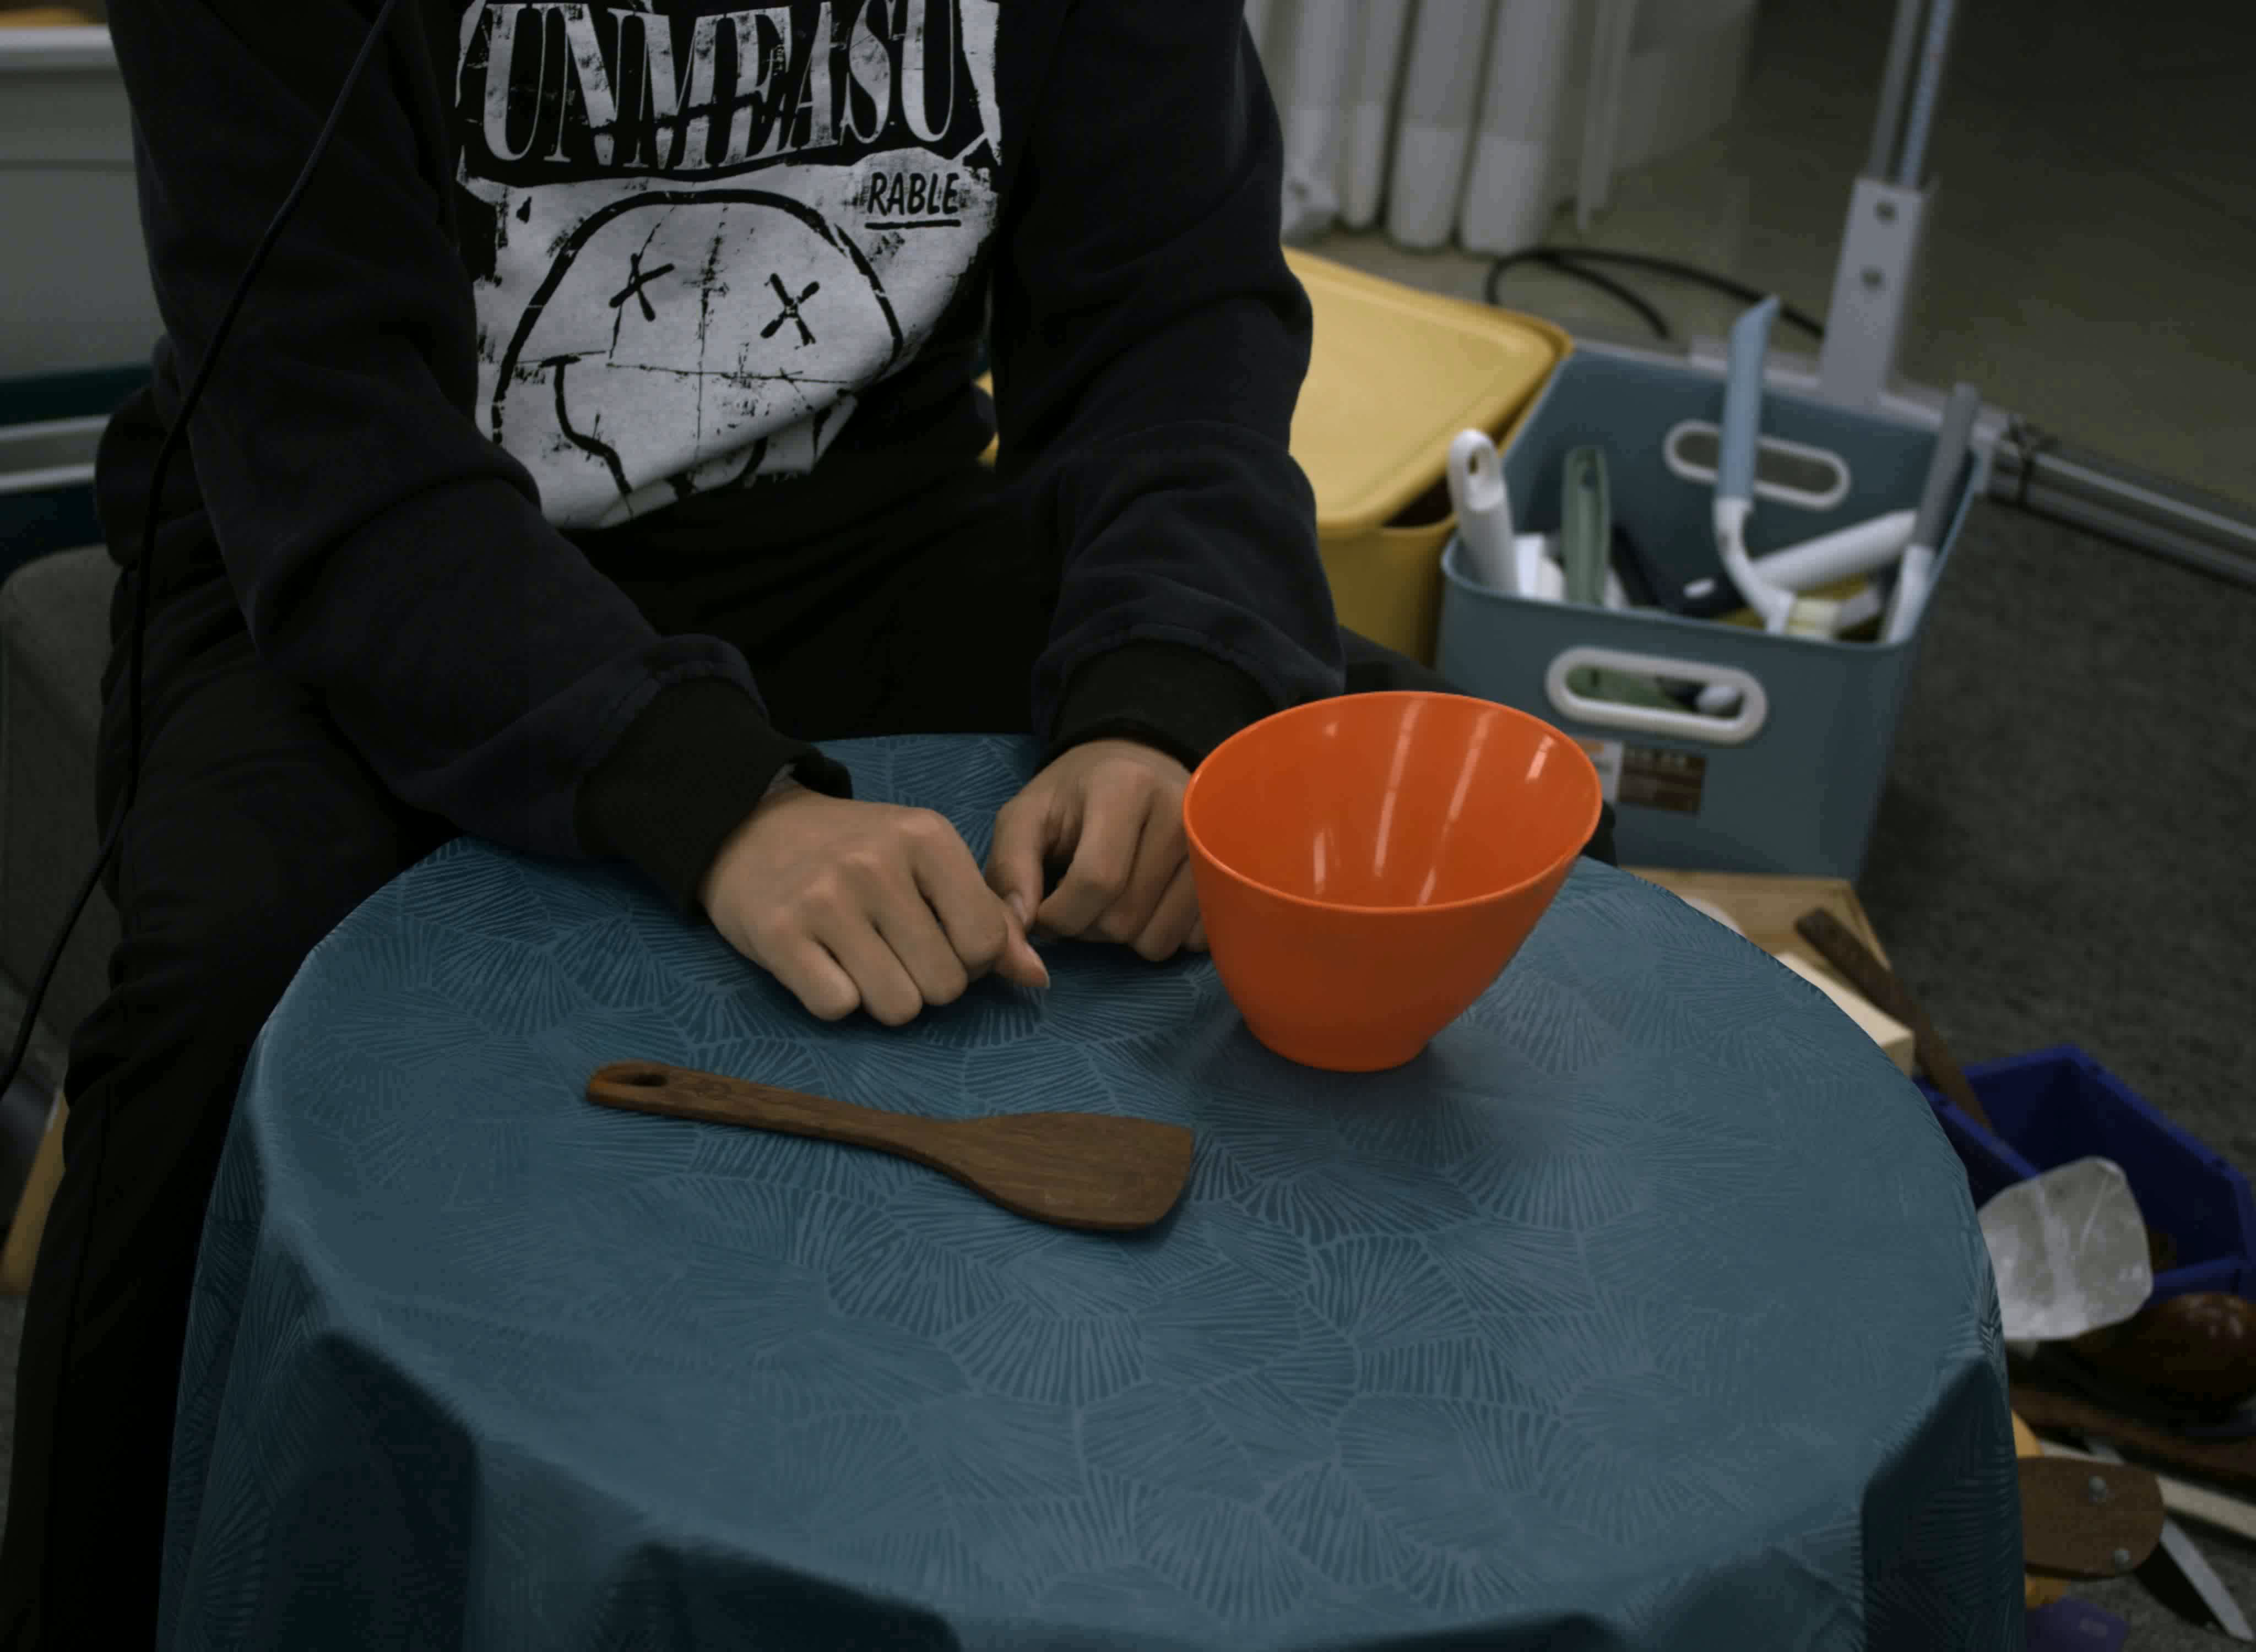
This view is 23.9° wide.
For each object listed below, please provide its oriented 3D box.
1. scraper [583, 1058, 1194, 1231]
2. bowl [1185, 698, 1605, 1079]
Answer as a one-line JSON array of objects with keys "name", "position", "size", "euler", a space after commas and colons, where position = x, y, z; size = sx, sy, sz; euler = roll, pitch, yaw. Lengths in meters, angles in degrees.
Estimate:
[{"name": "scraper", "position": [-0.083, 0.104, 1.812], "size": [0.211, 0.011, 0.076], "euler": [10, 26, 8]}, {"name": "bowl", "position": [0.090, 0.028, 1.899], "size": [0.147, 0.104, 0.149], "euler": [6, 27, -3]}]
